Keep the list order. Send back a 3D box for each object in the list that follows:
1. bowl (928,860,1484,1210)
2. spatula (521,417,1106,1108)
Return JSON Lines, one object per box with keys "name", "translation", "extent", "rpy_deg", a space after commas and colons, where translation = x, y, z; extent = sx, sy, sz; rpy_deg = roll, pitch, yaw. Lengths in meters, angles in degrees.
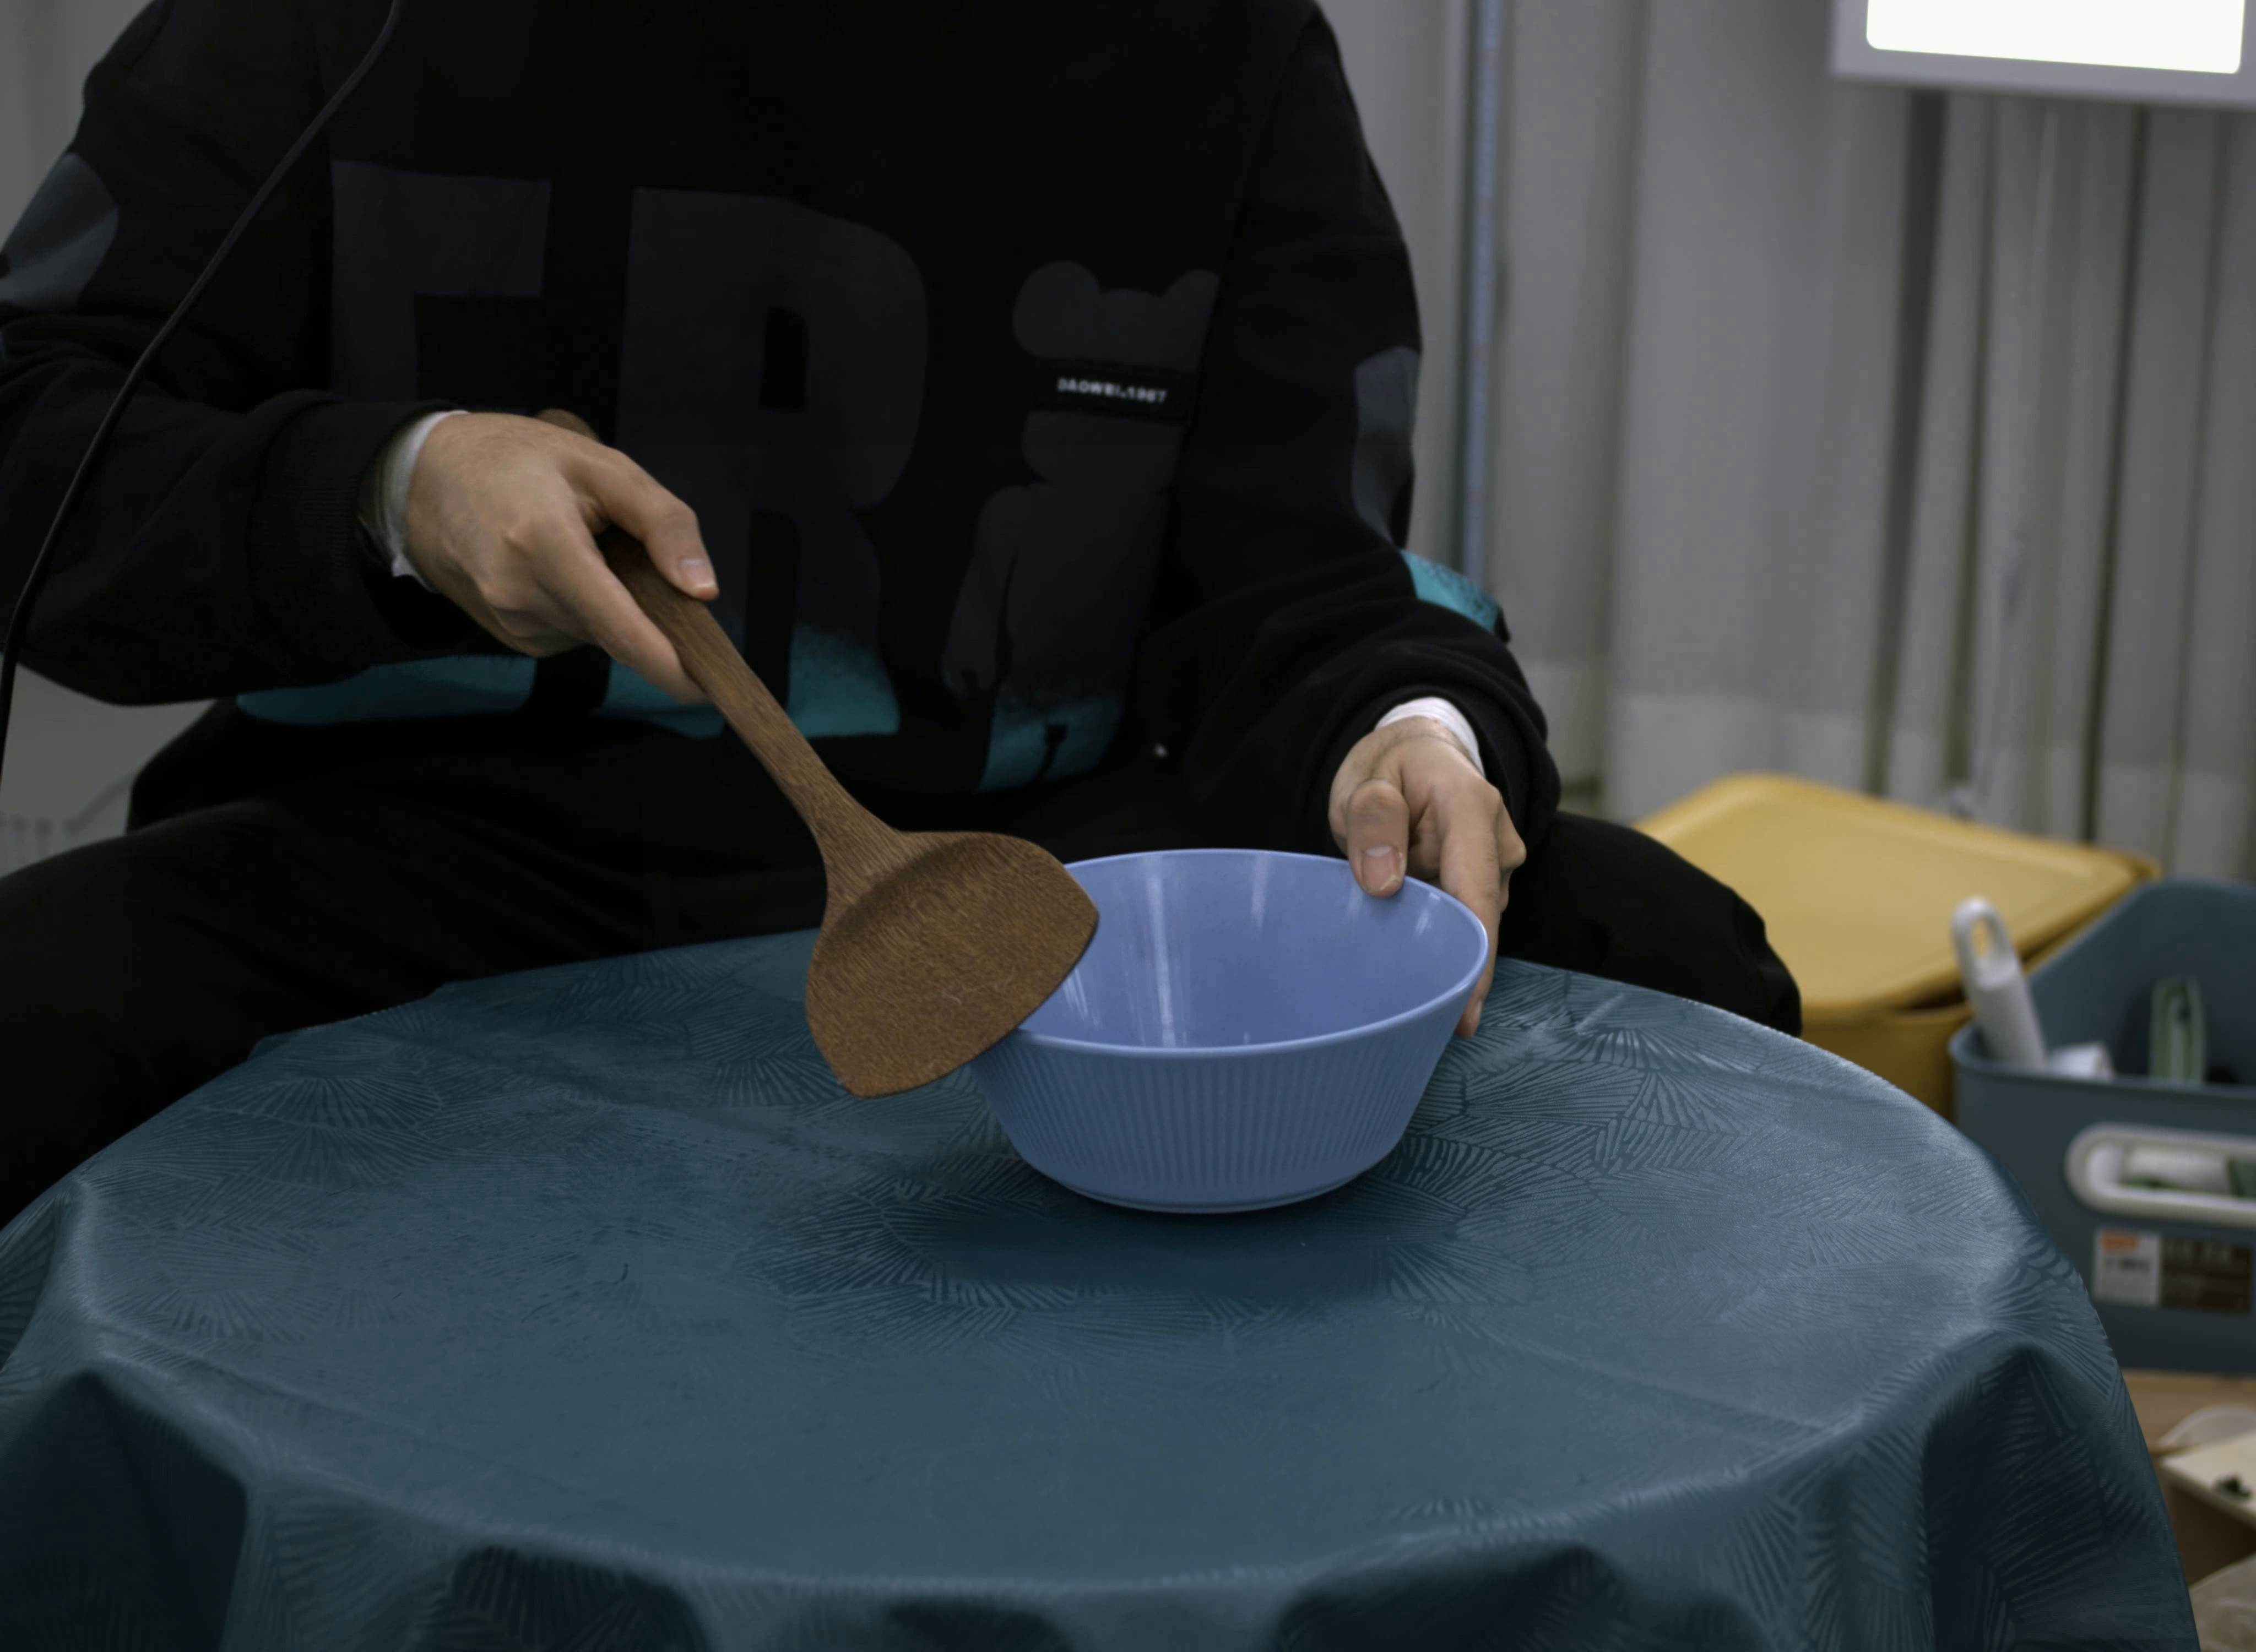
{"name": "bowl", "translation": [0.023, 0.068, 1.632], "extent": [0.175, 0.071, 0.175], "rpy_deg": [0, 18, 1]}
{"name": "spatula", "translation": [-0.119, -0.037, 1.687], "extent": [0.096, 0.016, 0.380], "rpy_deg": [-38, 45, -2]}
